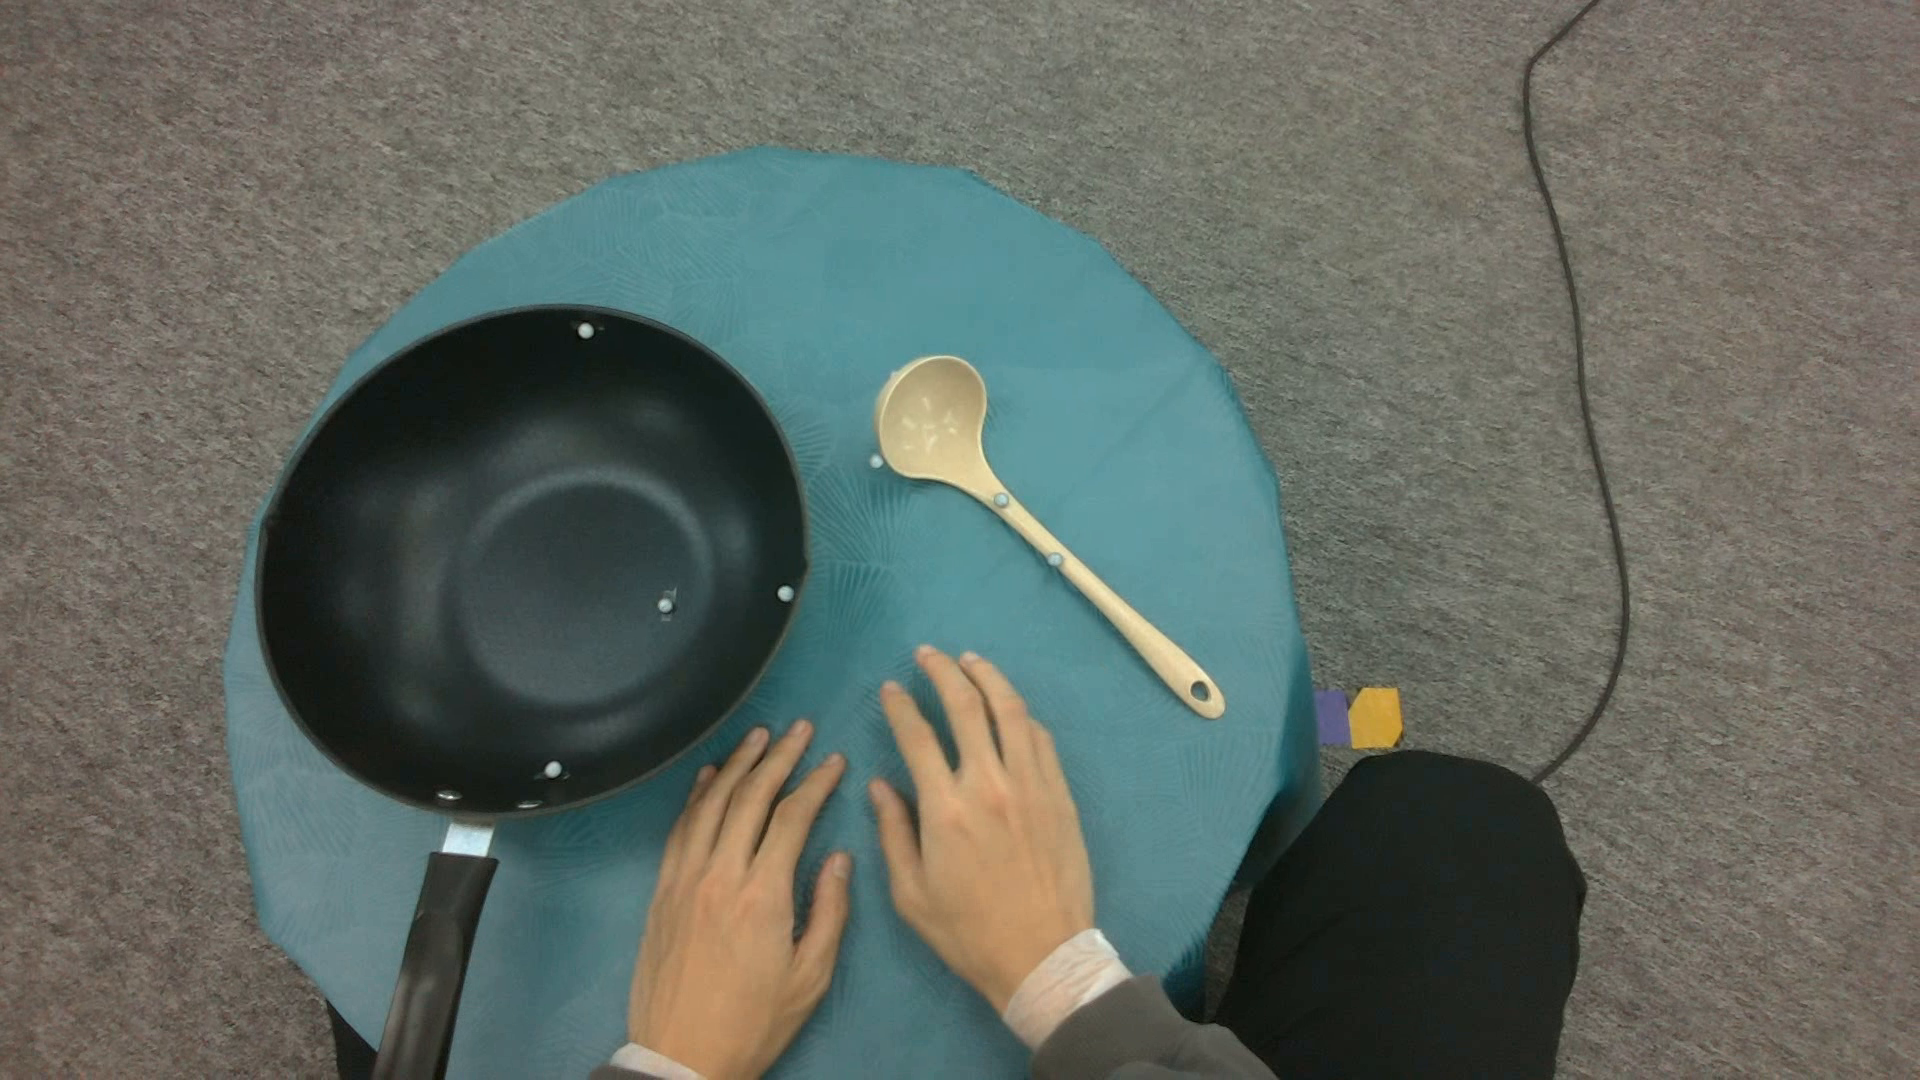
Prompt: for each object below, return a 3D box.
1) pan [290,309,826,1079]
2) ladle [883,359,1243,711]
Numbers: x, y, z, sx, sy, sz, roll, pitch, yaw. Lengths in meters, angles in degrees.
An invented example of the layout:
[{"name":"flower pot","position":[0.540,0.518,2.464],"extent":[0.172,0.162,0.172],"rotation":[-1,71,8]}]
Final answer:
[{"name":"pan","position":[-0.221,0.102,0.725],"extent":[0.288,0.086,0.464],"rotation":[6,71,5]},{"name":"ladle","position":[0.060,-0.004,0.752],"extent":[0.254,0.072,0.072],"rotation":[42,76,18]}]
